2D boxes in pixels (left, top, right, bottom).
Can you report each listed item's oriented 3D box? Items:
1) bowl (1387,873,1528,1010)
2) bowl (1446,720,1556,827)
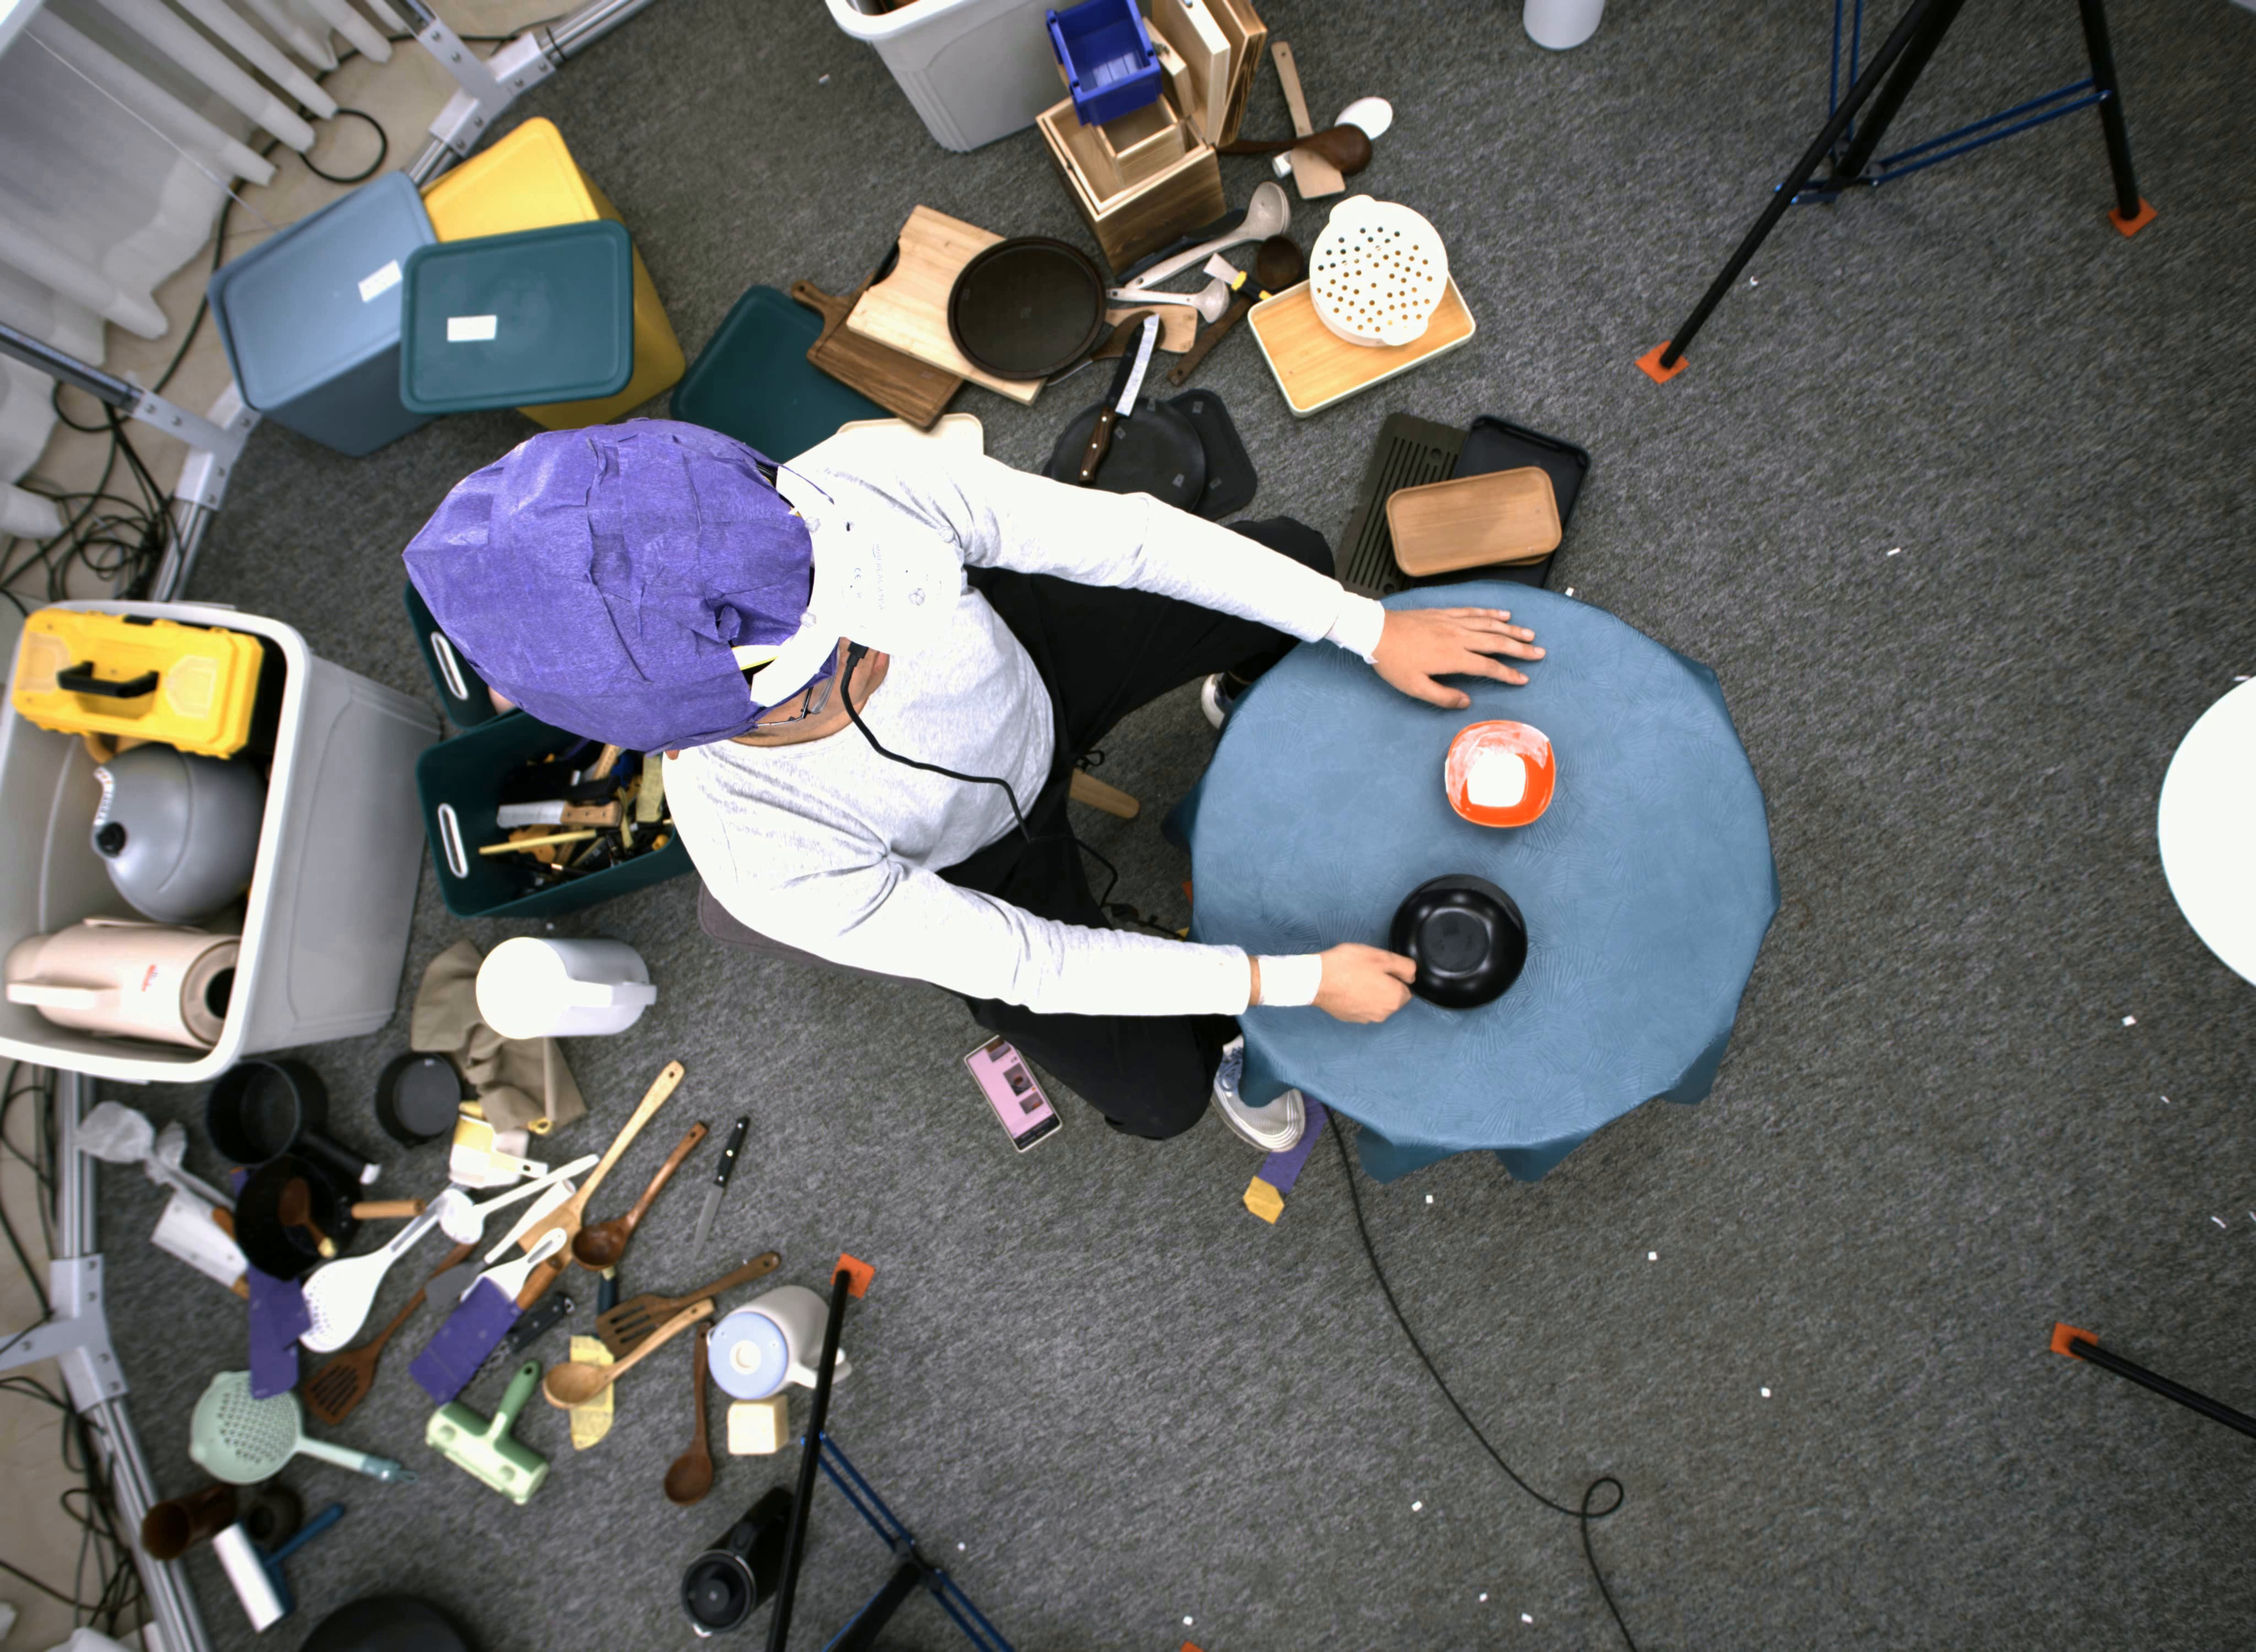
[{"bbox_3d":[0.337,0.117,1.418,0.140,0.049,0.140,0,89,12],"label":"bowl"},{"bbox_3d":[0.382,-0.054,1.418,0.119,0.051,0.118,-1,88,8],"label":"bowl"}]
